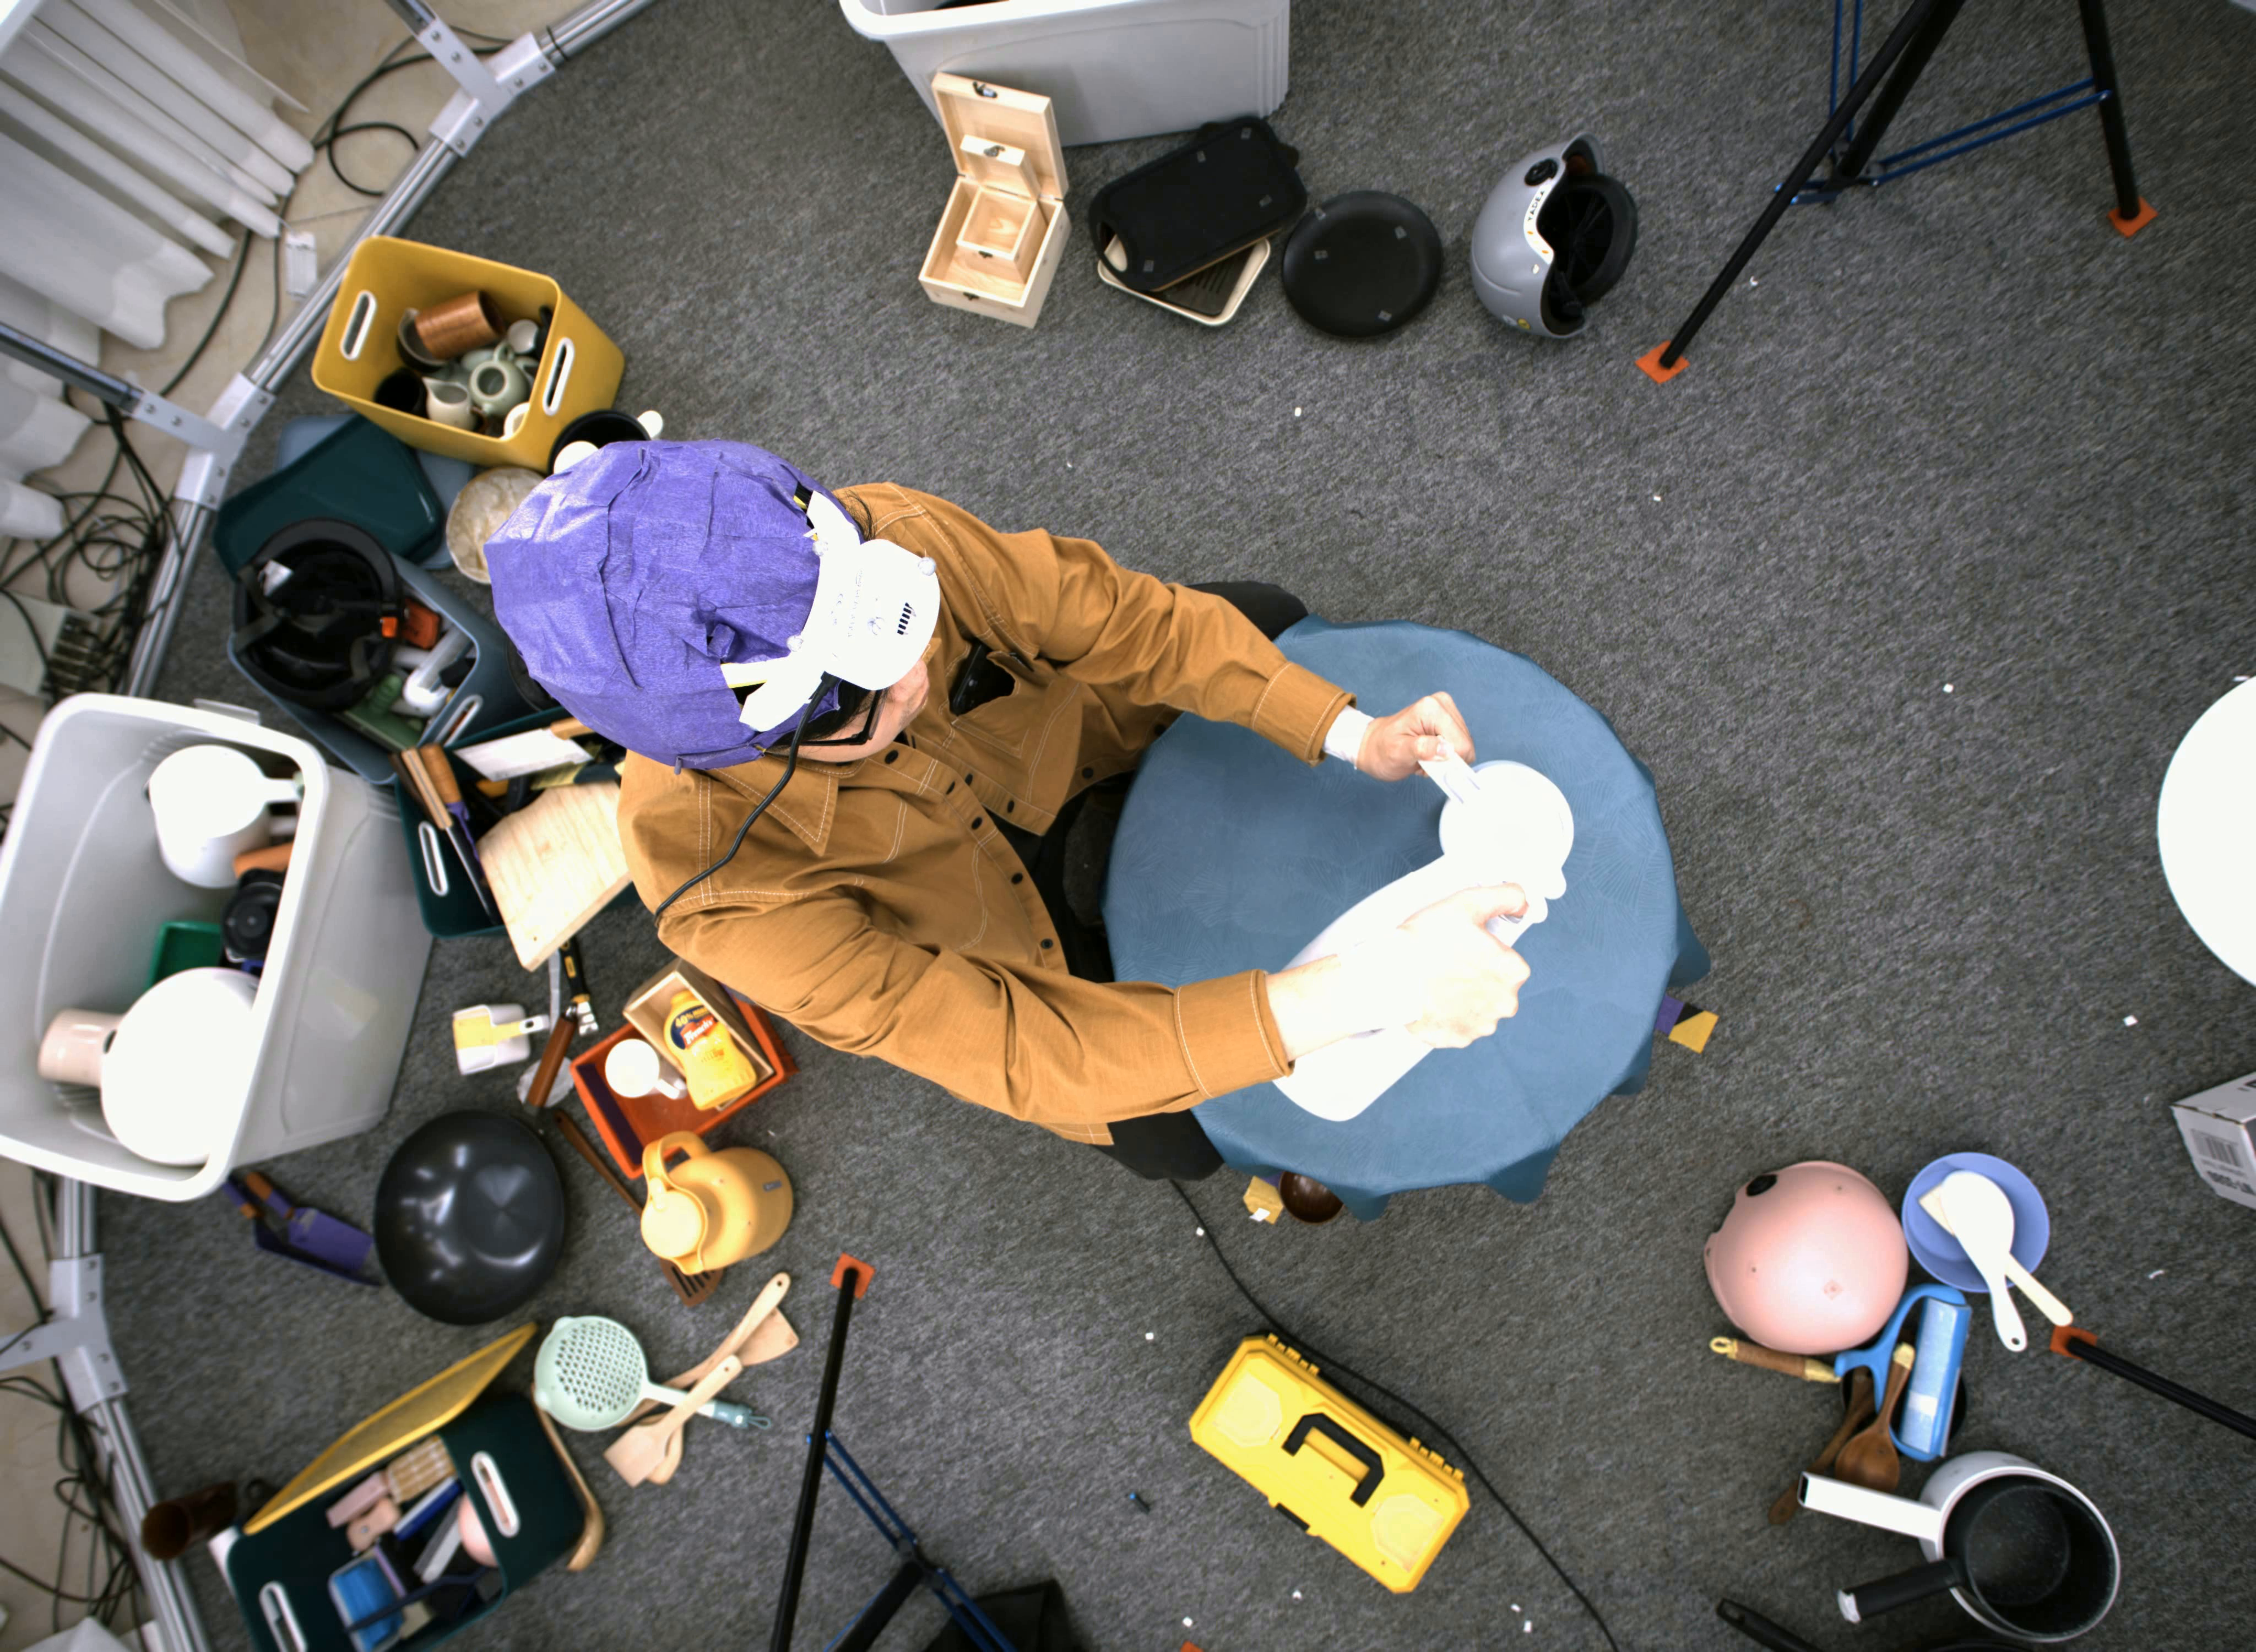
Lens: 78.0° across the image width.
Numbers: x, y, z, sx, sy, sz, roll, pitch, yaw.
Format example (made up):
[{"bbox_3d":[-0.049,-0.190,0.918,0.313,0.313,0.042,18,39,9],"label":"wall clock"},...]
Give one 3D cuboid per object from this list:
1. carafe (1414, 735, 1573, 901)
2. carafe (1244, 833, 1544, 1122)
[{"bbox_3d":[0.338,-0.013,1.284,0.125,0.266,0.172,-44,84,16],"label":"carafe"},{"bbox_3d":[0.217,0.125,1.099,0.133,0.163,0.254,36,122,-8],"label":"carafe"}]
